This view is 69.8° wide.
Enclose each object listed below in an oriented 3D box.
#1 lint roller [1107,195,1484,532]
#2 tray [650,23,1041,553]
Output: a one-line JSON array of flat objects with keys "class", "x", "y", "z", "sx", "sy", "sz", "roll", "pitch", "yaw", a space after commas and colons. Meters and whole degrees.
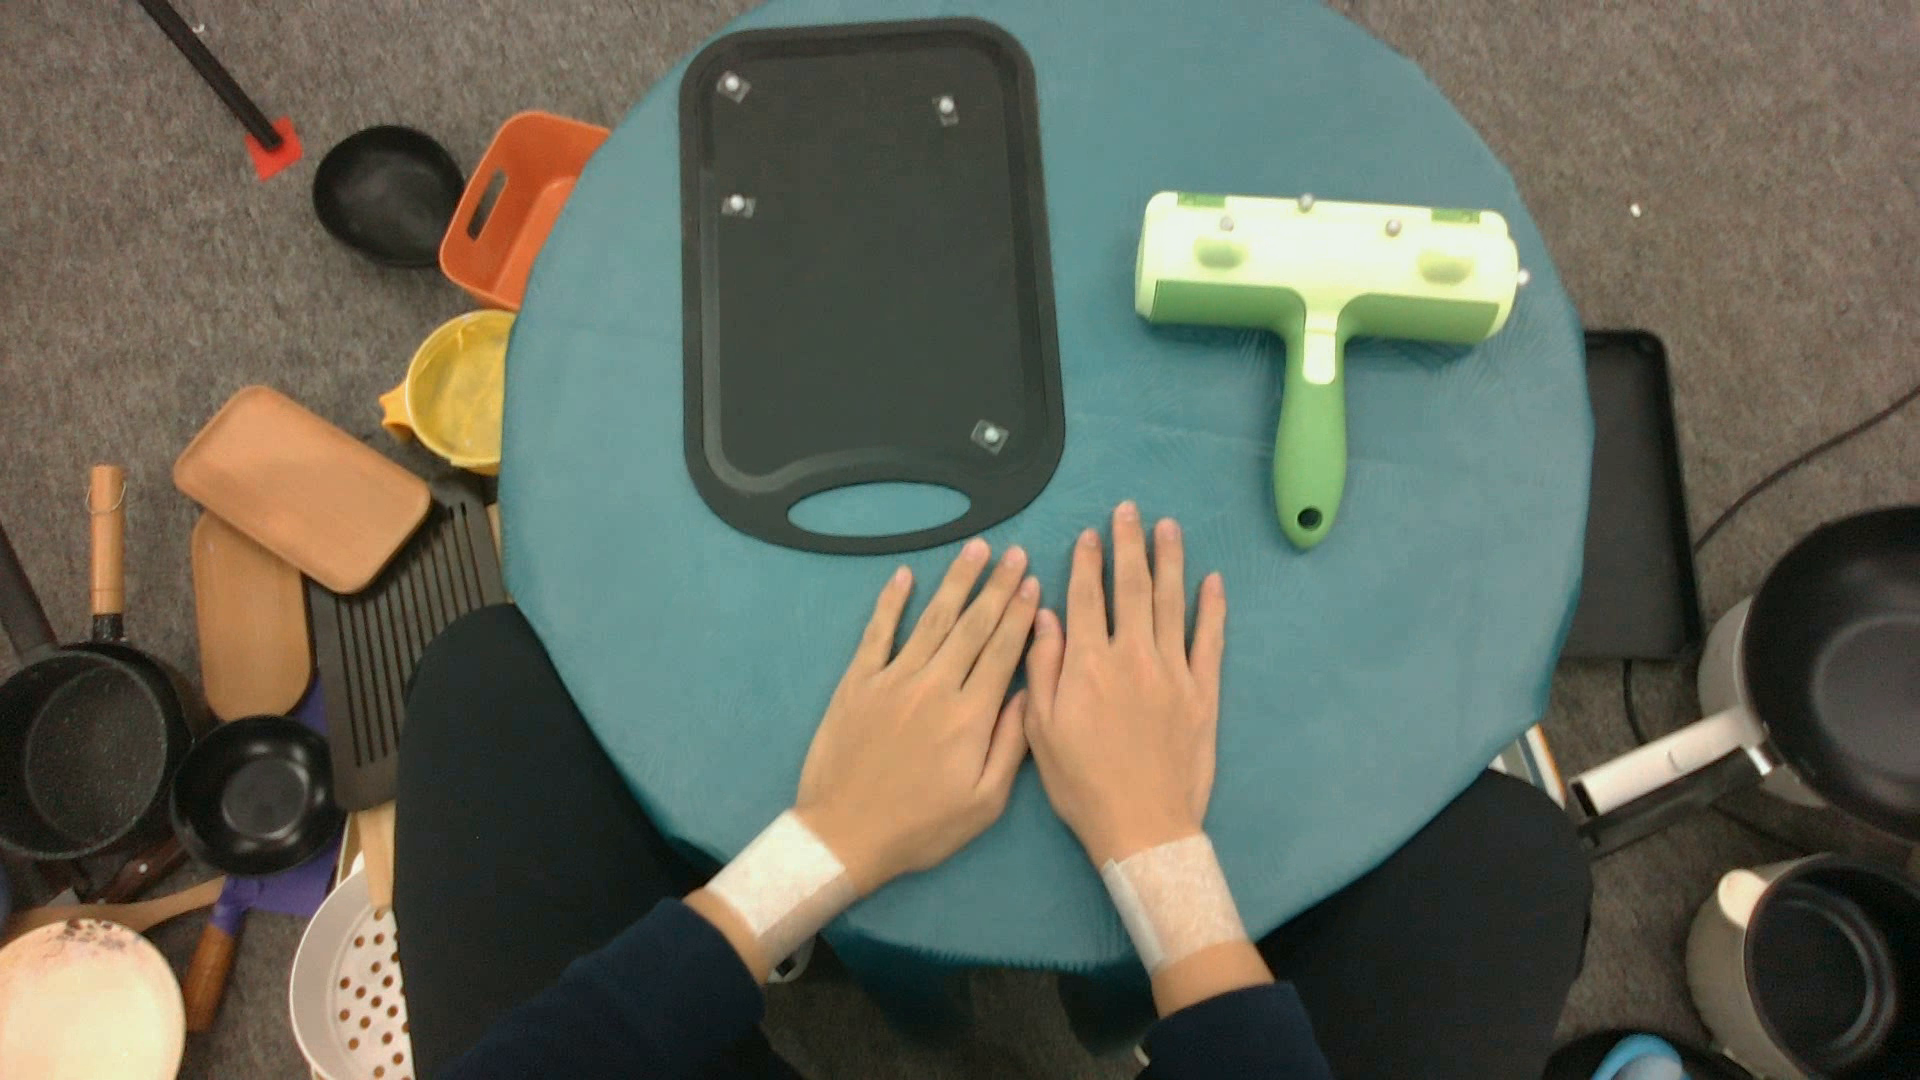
[{"class": "lint roller", "x": 0.178, "y": -0.101, "z": 0.723, "sx": 0.198, "sy": 0.082, "sz": 0.184, "roll": 2, "pitch": 67, "yaw": 2}, {"class": "tray", "x": -0.068, "y": -0.150, "z": 0.778, "sx": 0.211, "sy": 0.010, "sz": 0.326, "roll": -5, "pitch": 74, "yaw": -2}]
